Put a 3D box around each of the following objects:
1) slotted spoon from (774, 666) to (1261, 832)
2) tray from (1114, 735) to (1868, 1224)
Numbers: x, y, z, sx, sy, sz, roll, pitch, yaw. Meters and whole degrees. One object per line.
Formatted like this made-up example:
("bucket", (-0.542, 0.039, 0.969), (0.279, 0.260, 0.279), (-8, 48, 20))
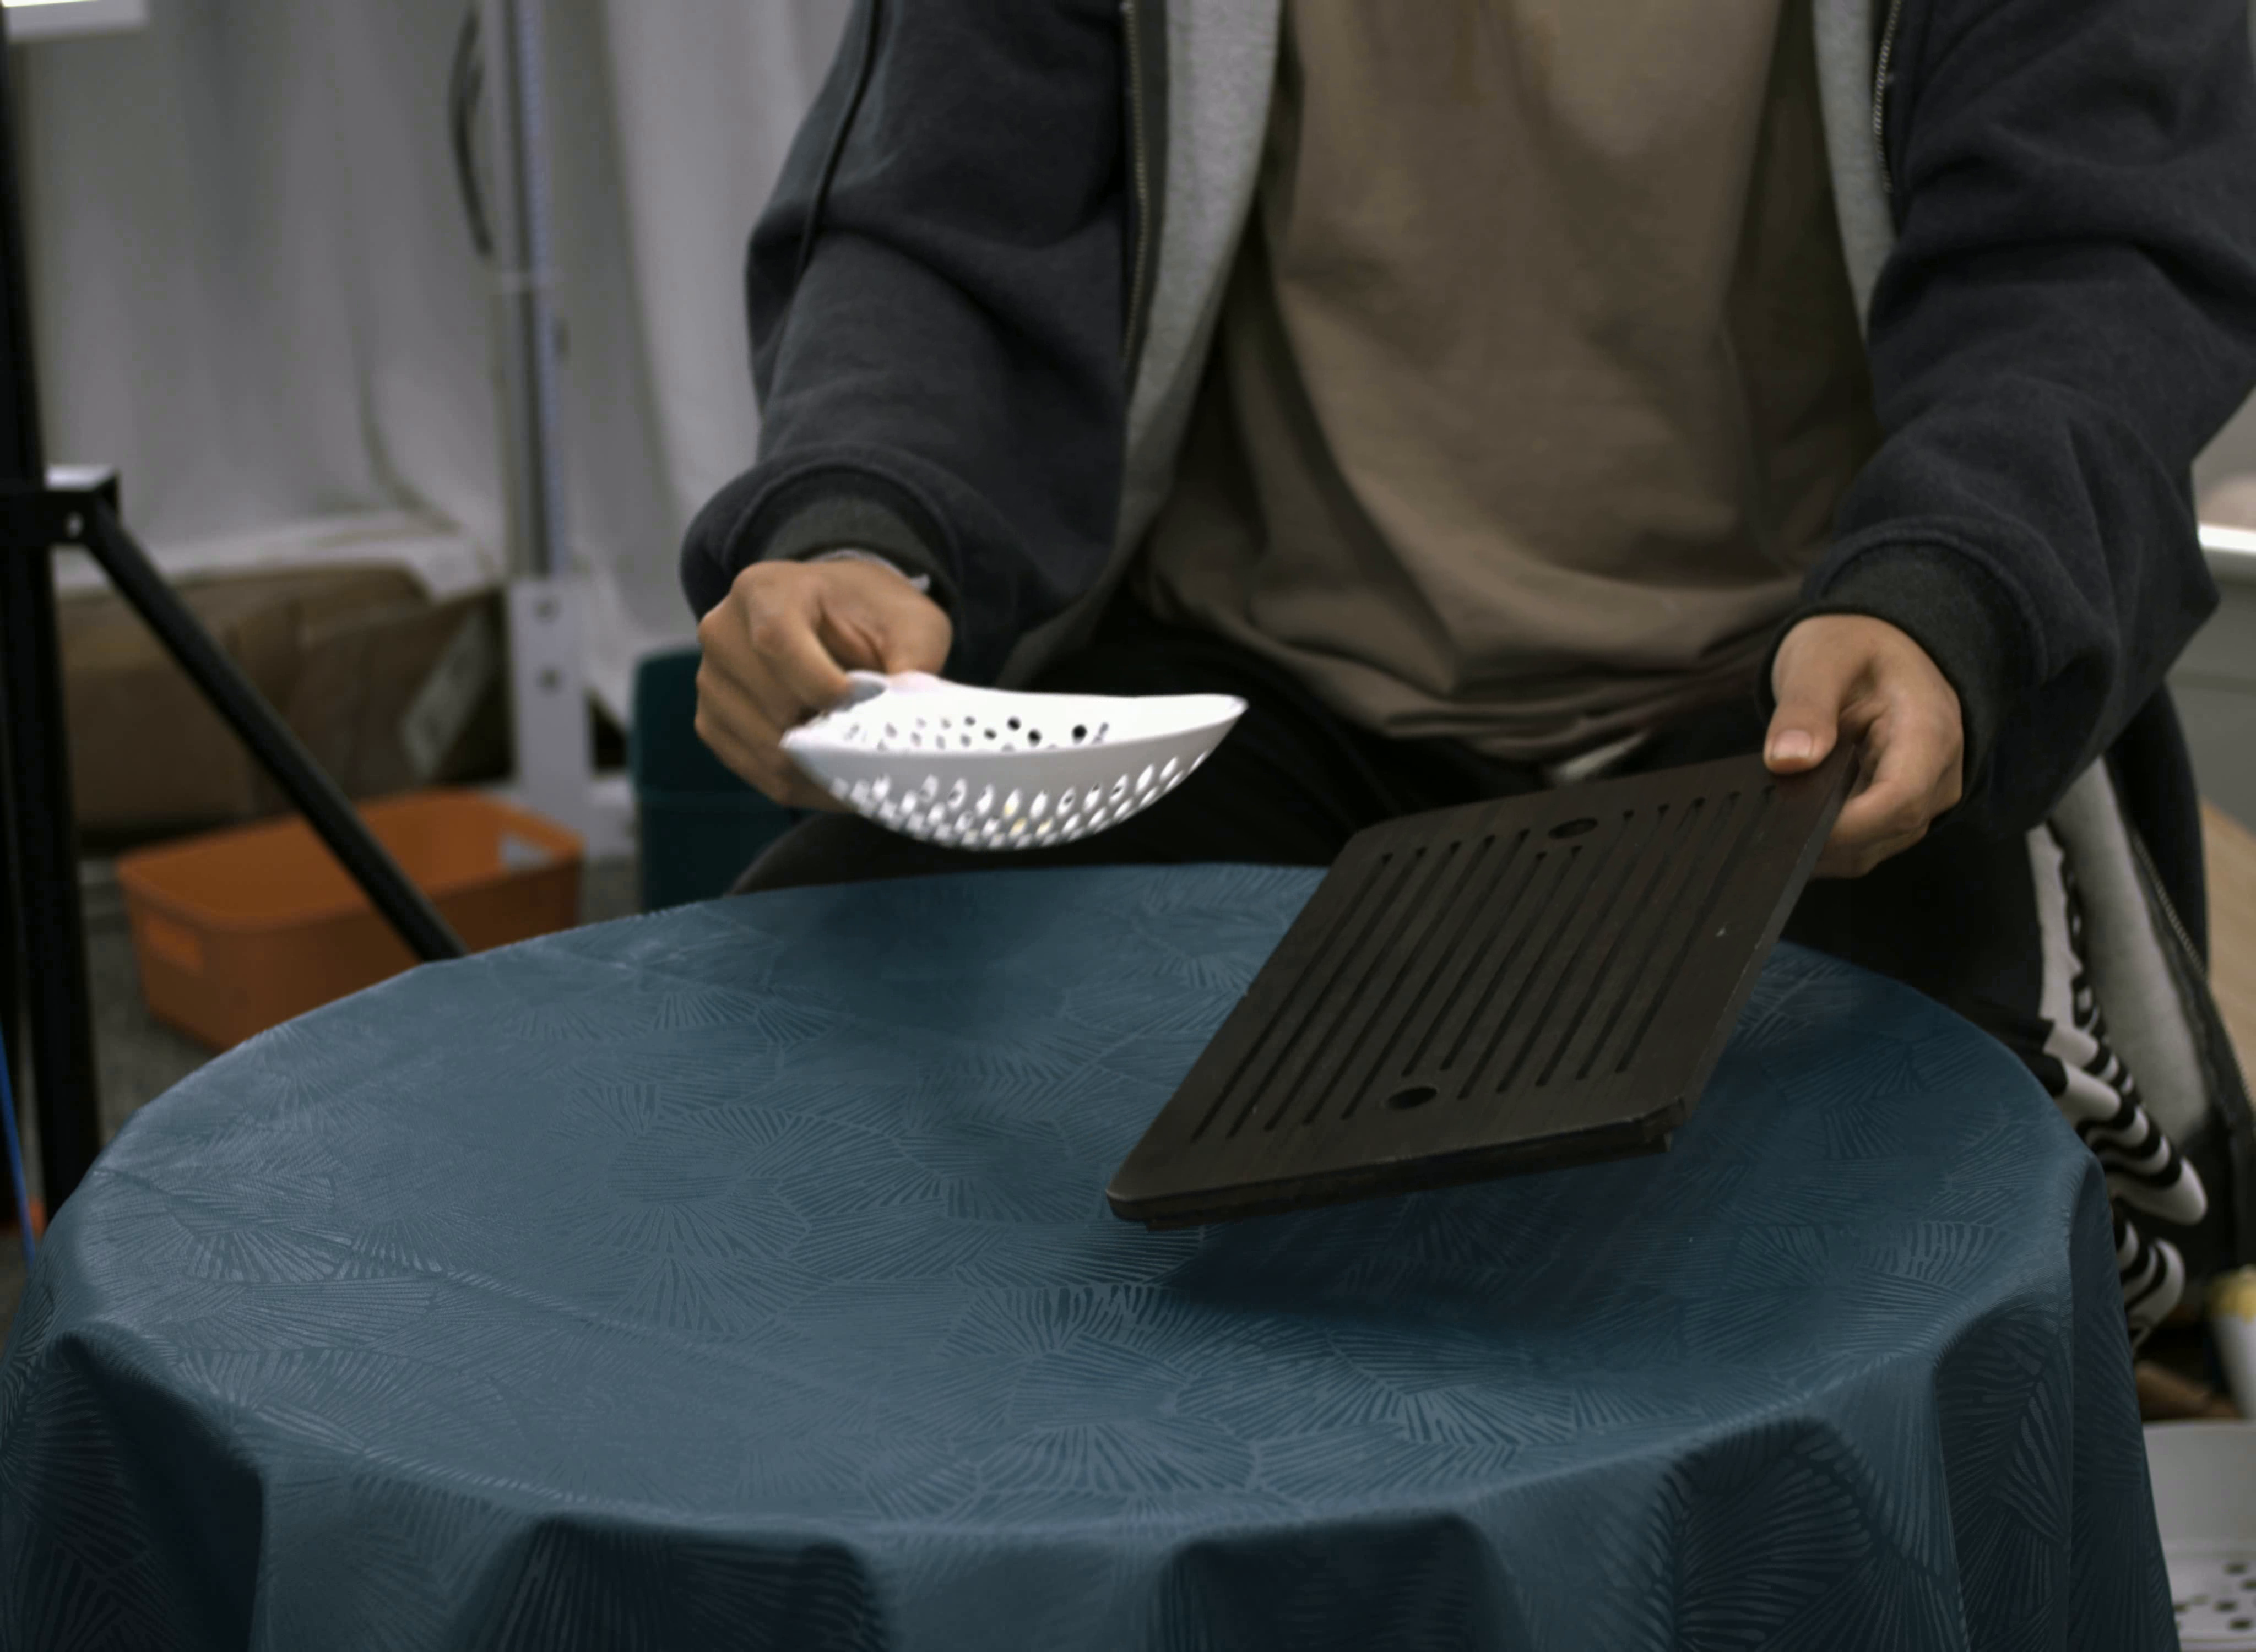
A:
("slotted spoon", (-0.060, -0.033, 1.657), (0.134, 0.050, 0.352), (-6, 9, -15))
("tray", (0.115, 0.044, 1.566), (0.172, 0.018, 0.303), (-11, 17, 22))
